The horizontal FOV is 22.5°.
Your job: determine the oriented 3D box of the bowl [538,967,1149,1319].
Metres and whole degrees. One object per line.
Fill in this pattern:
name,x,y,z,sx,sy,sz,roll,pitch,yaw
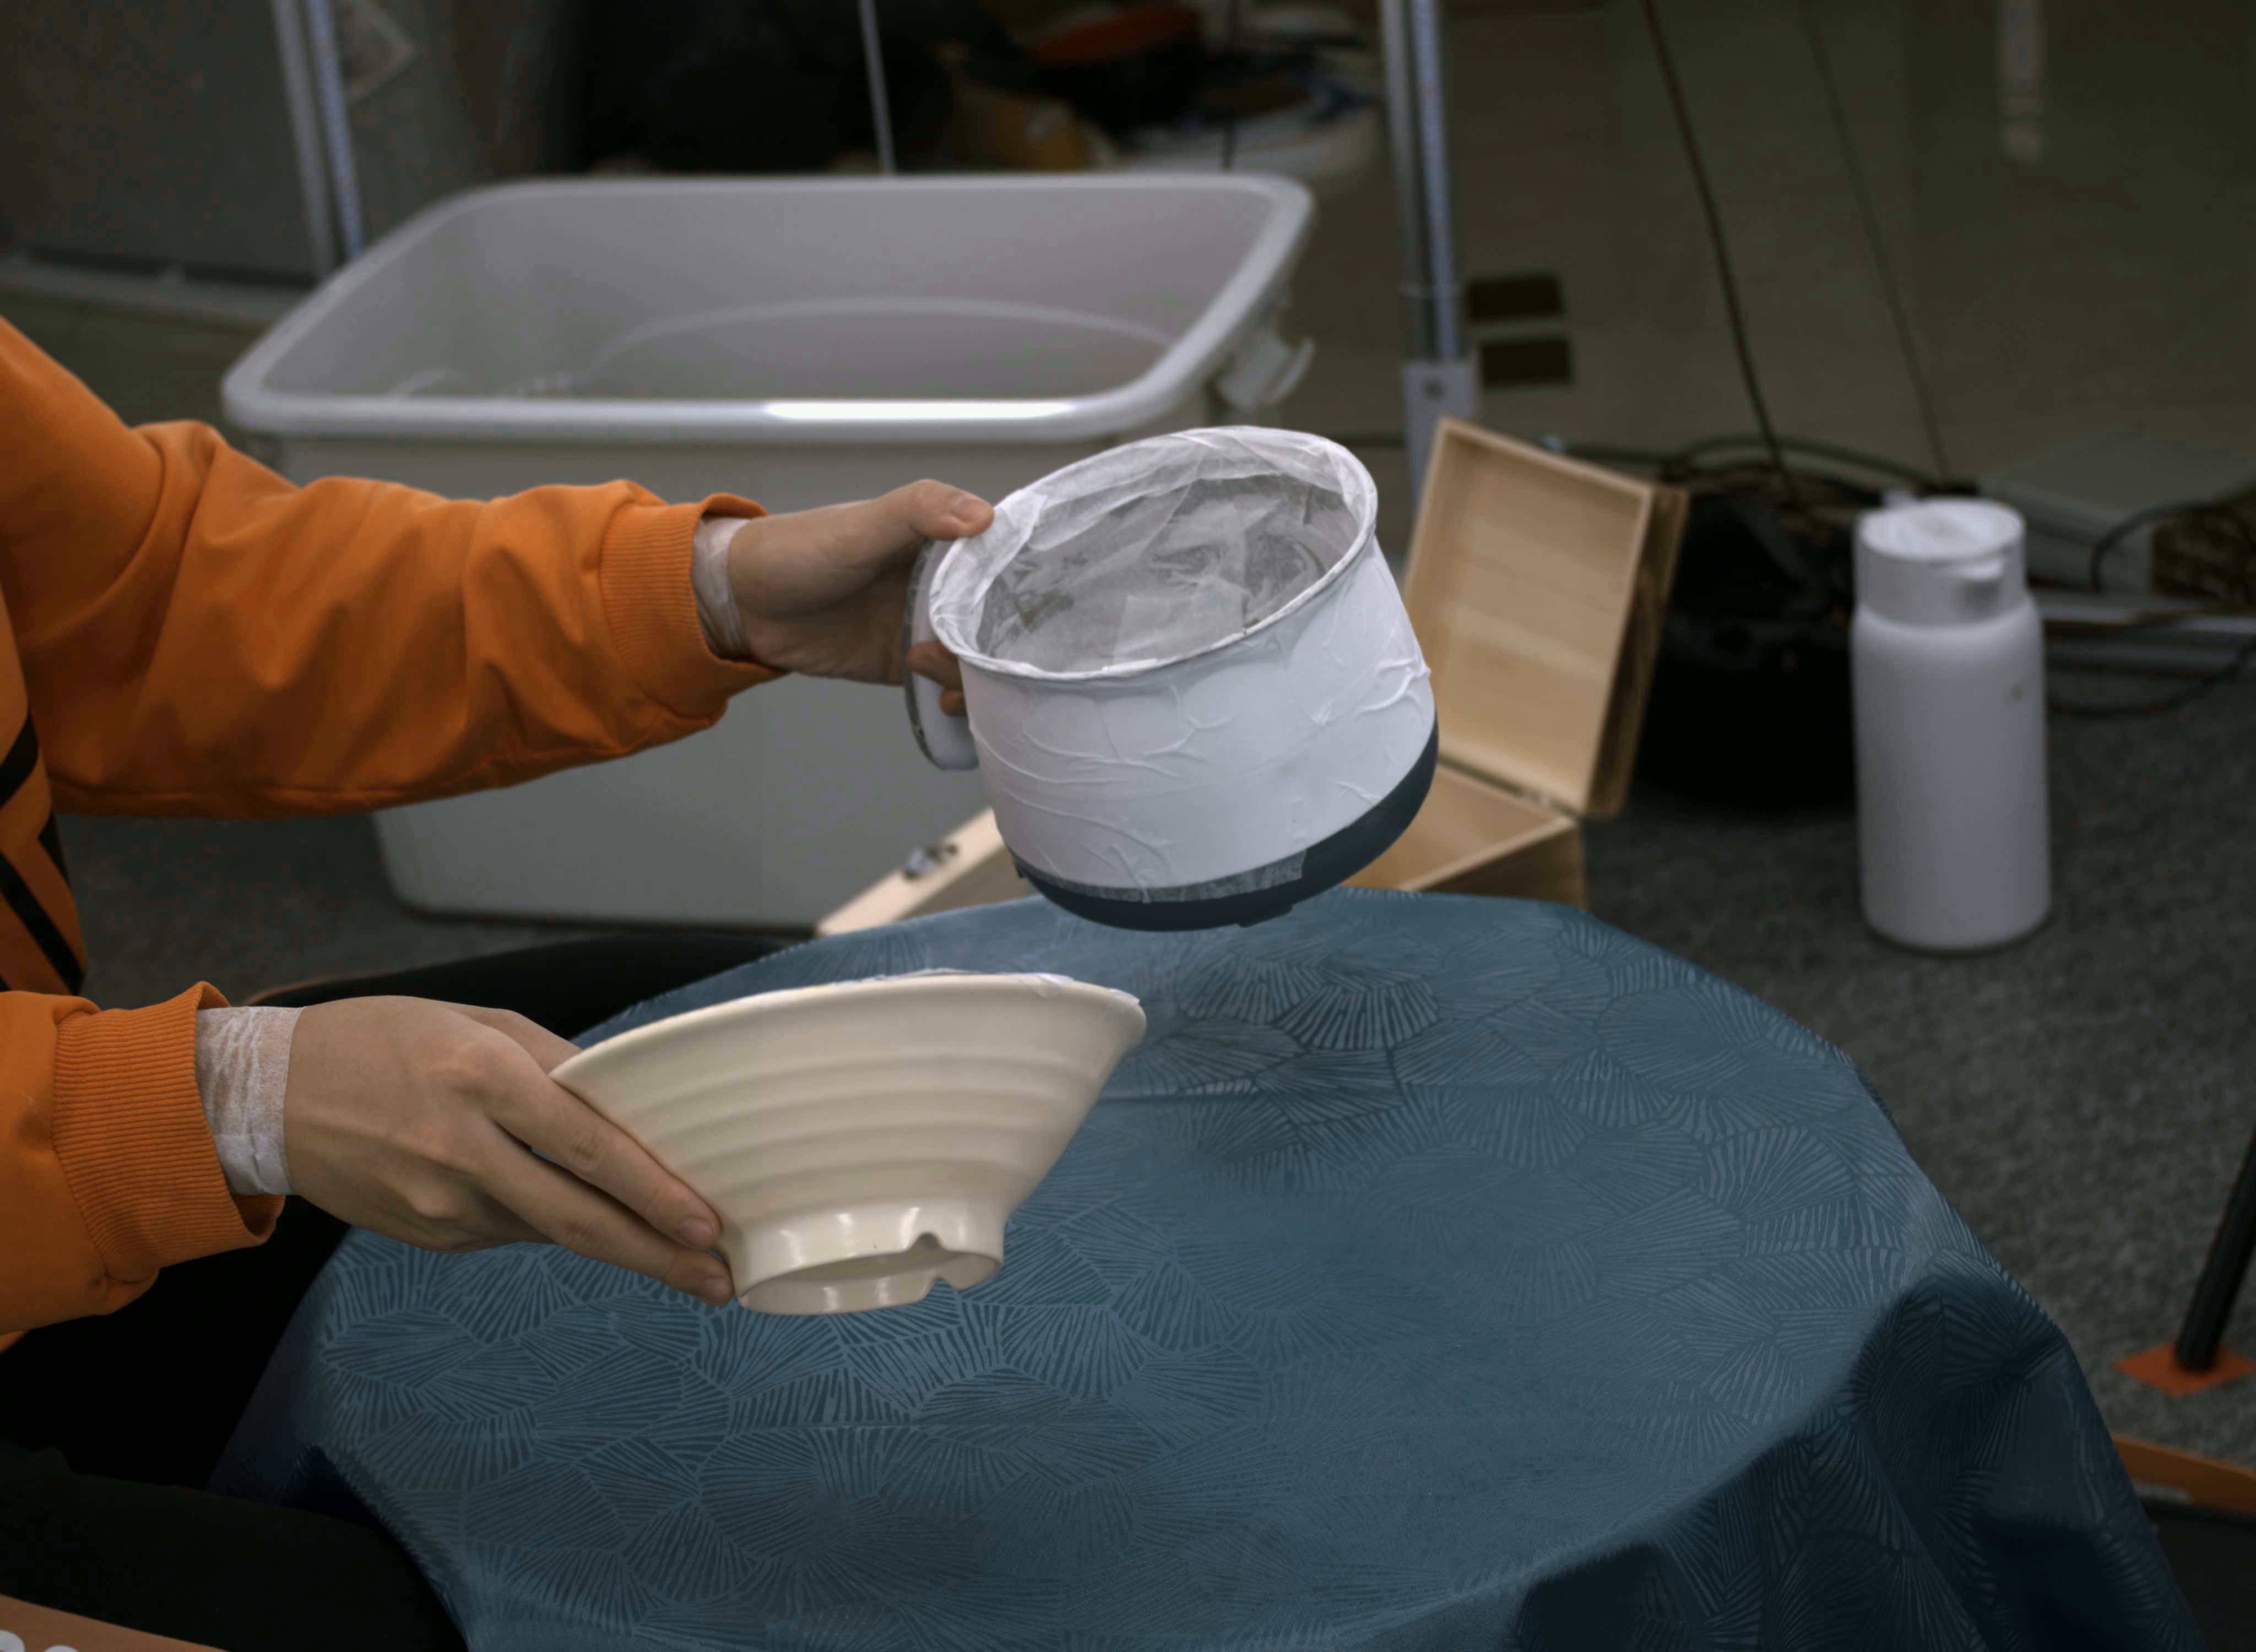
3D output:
bowl,-0.087,0.113,1.855,0.203,0.077,0.206,-9,-16,-3

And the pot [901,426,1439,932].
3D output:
pot,0.003,-0.057,2.188,0.232,0.139,0.176,9,39,36
